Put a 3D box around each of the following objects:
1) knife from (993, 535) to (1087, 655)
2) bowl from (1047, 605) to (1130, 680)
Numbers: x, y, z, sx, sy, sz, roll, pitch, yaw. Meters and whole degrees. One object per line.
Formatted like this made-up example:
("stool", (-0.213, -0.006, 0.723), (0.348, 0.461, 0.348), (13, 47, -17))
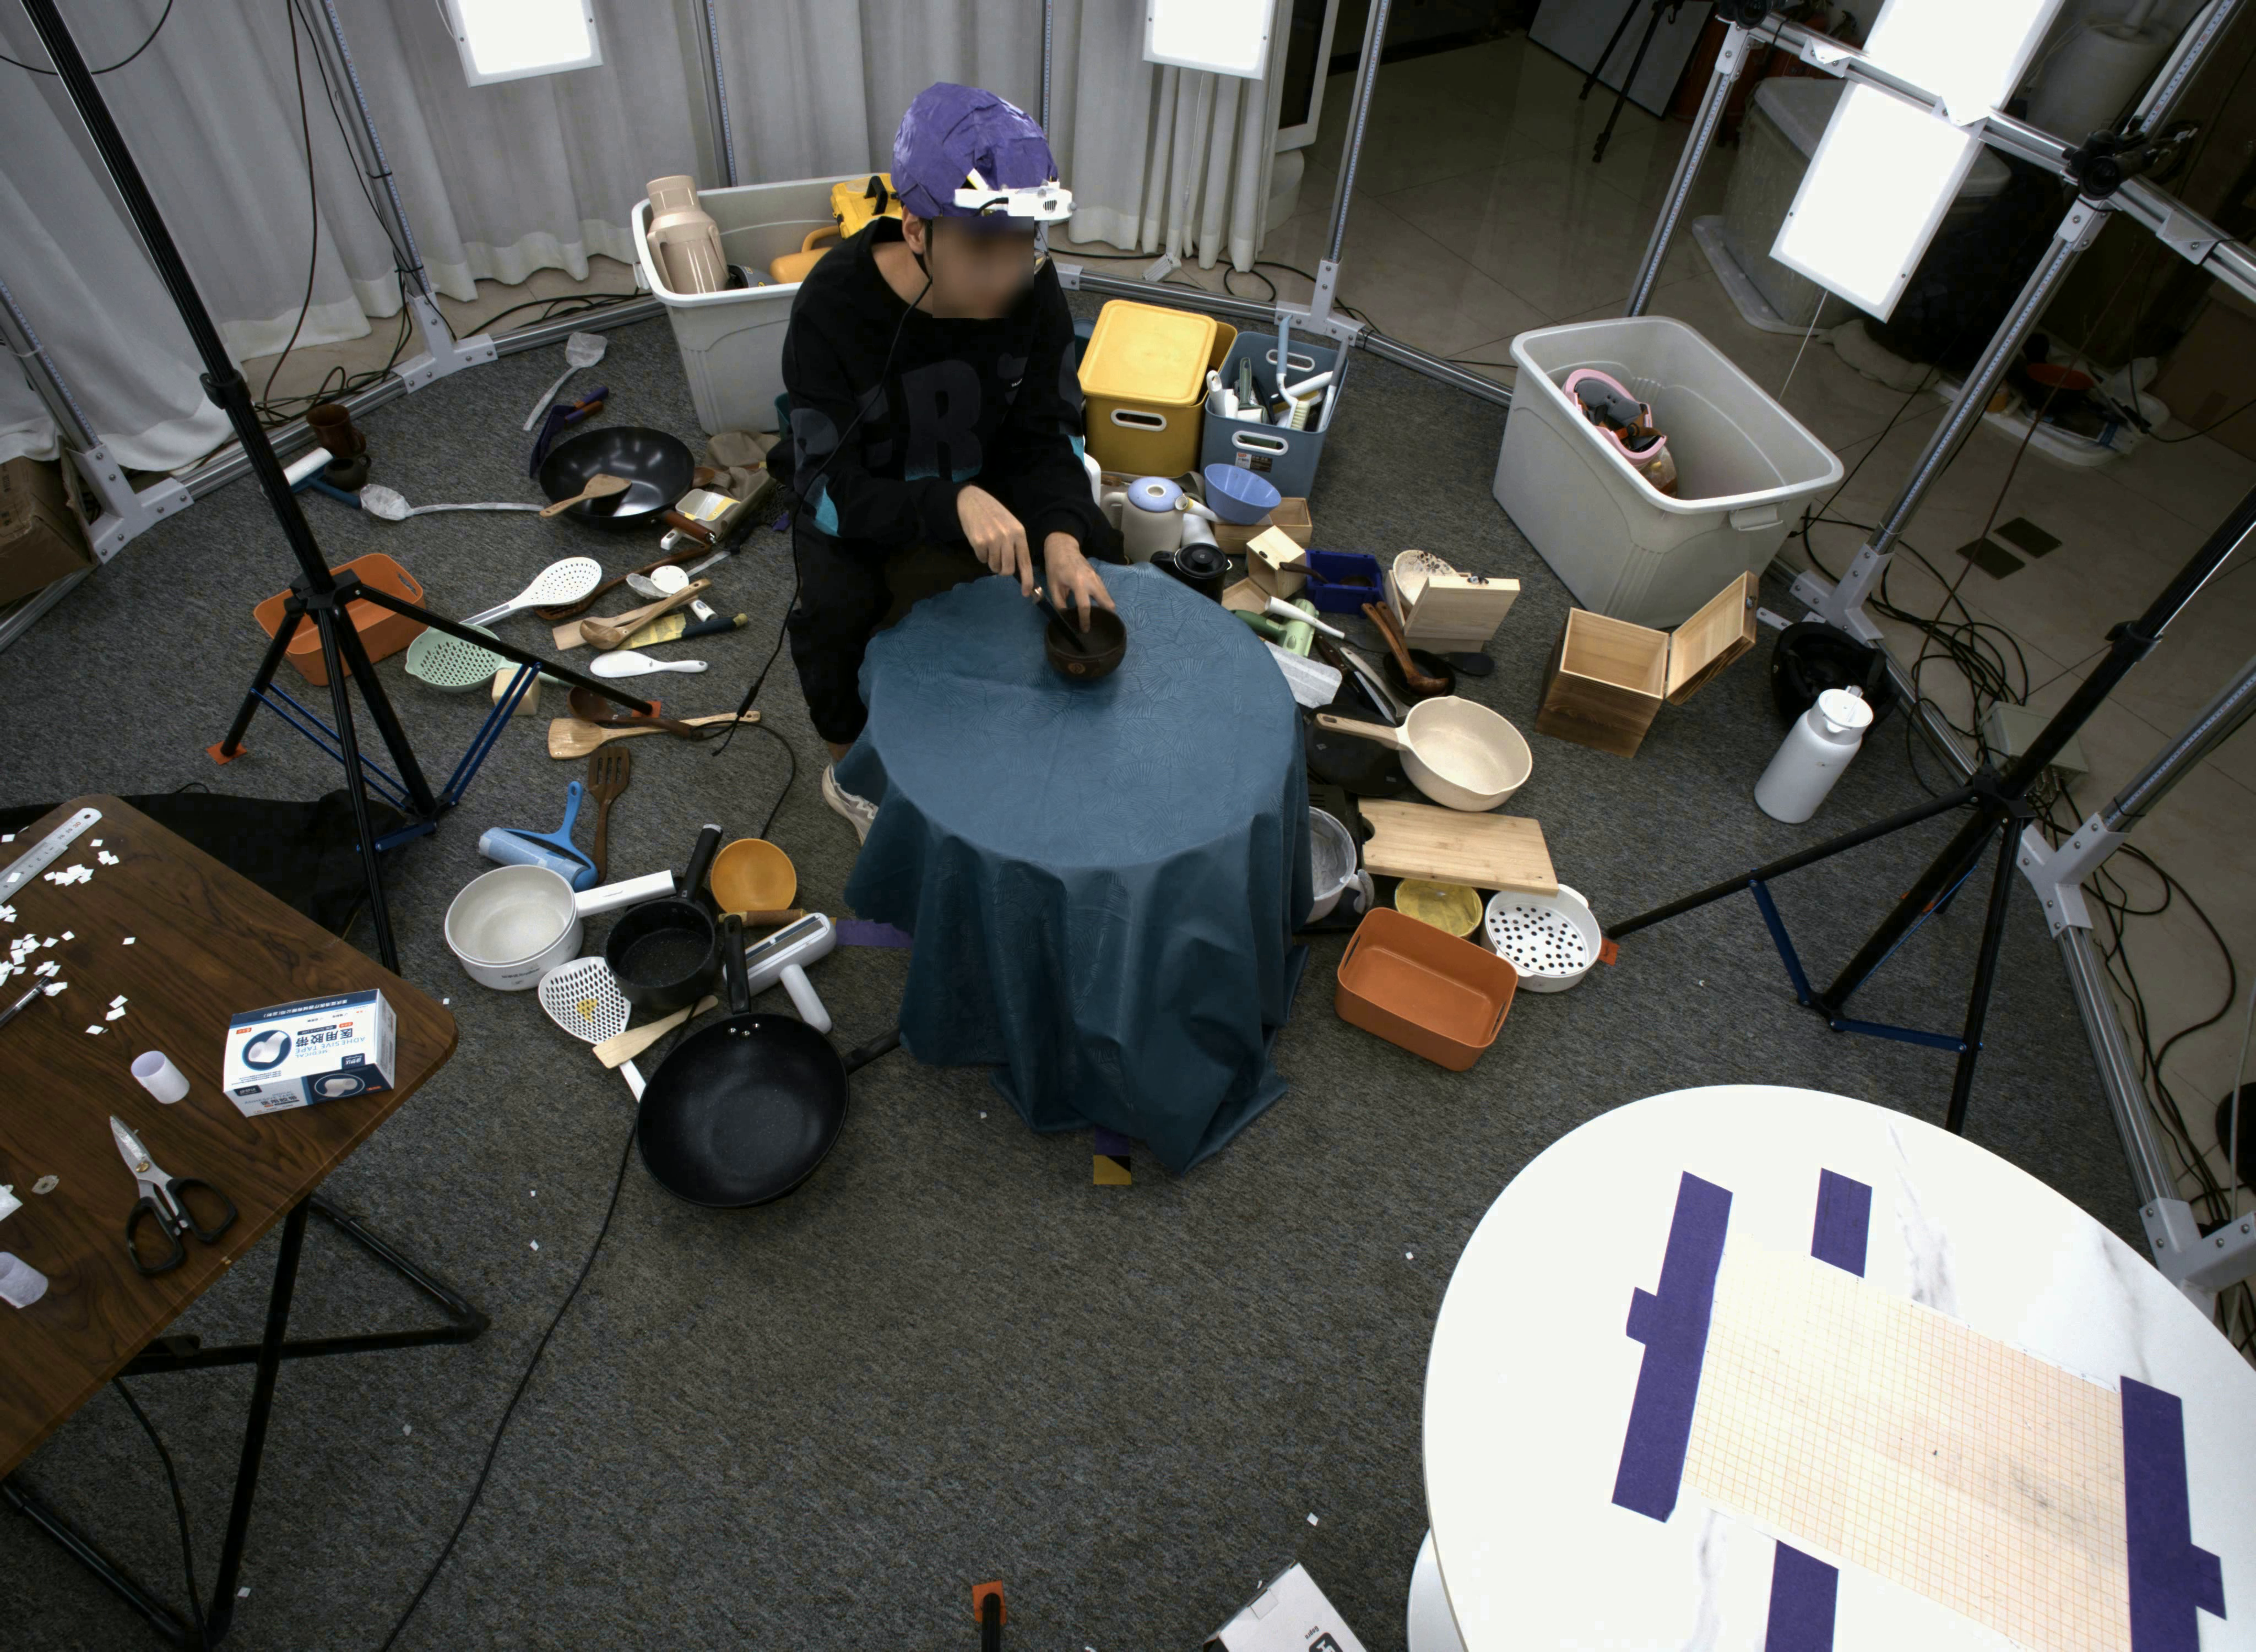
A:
("knife", (-0.116, -0.314, 1.811), (0.223, 0.026, 0.017), (51, 36, -17))
("bowl", (-0.056, -0.254, 1.835), (0.118, 0.068, 0.121), (2, 46, -2))
